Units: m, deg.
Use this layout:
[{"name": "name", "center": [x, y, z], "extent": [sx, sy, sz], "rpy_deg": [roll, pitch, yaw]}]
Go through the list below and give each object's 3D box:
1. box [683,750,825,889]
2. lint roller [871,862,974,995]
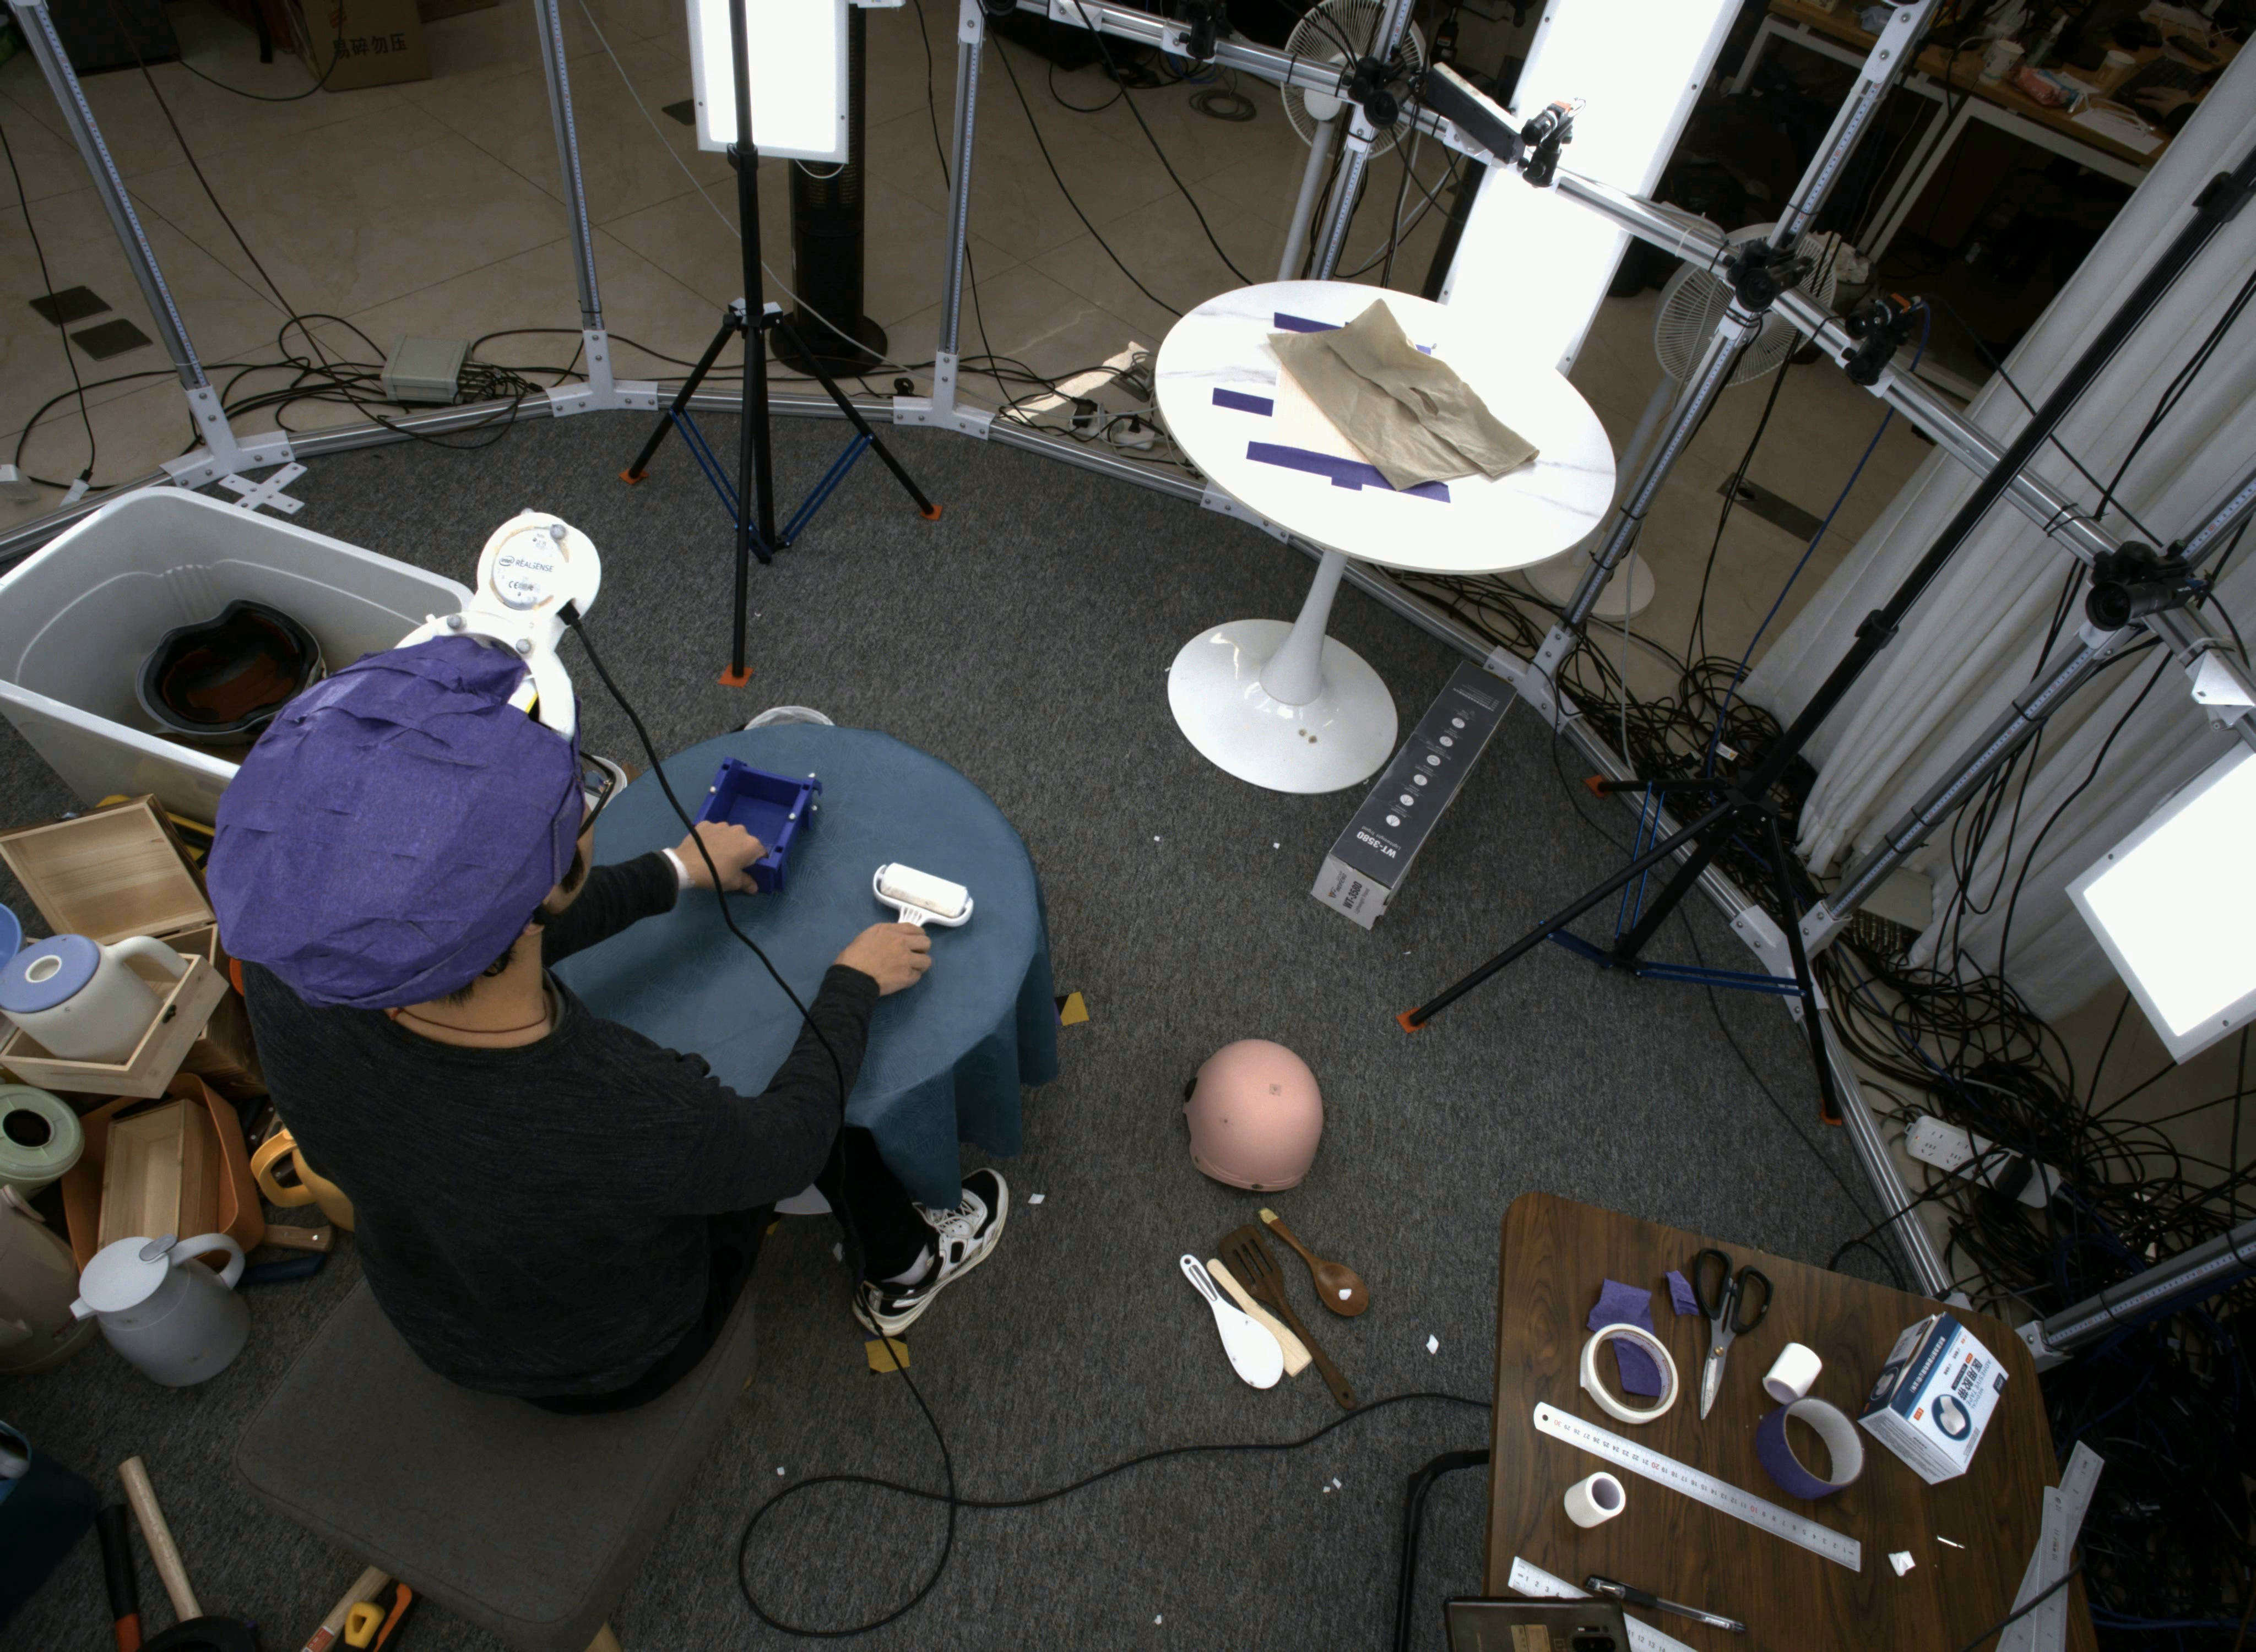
[{"name": "box", "center": [-0.479, -0.016, 1.664], "extent": [0.123, 0.083, 0.177], "rpy_deg": [15, 54, -2]}, {"name": "lint roller", "center": [-0.281, 0.127, 1.629], "extent": [0.132, 0.051, 0.179], "rpy_deg": [22, 48, 1]}]
